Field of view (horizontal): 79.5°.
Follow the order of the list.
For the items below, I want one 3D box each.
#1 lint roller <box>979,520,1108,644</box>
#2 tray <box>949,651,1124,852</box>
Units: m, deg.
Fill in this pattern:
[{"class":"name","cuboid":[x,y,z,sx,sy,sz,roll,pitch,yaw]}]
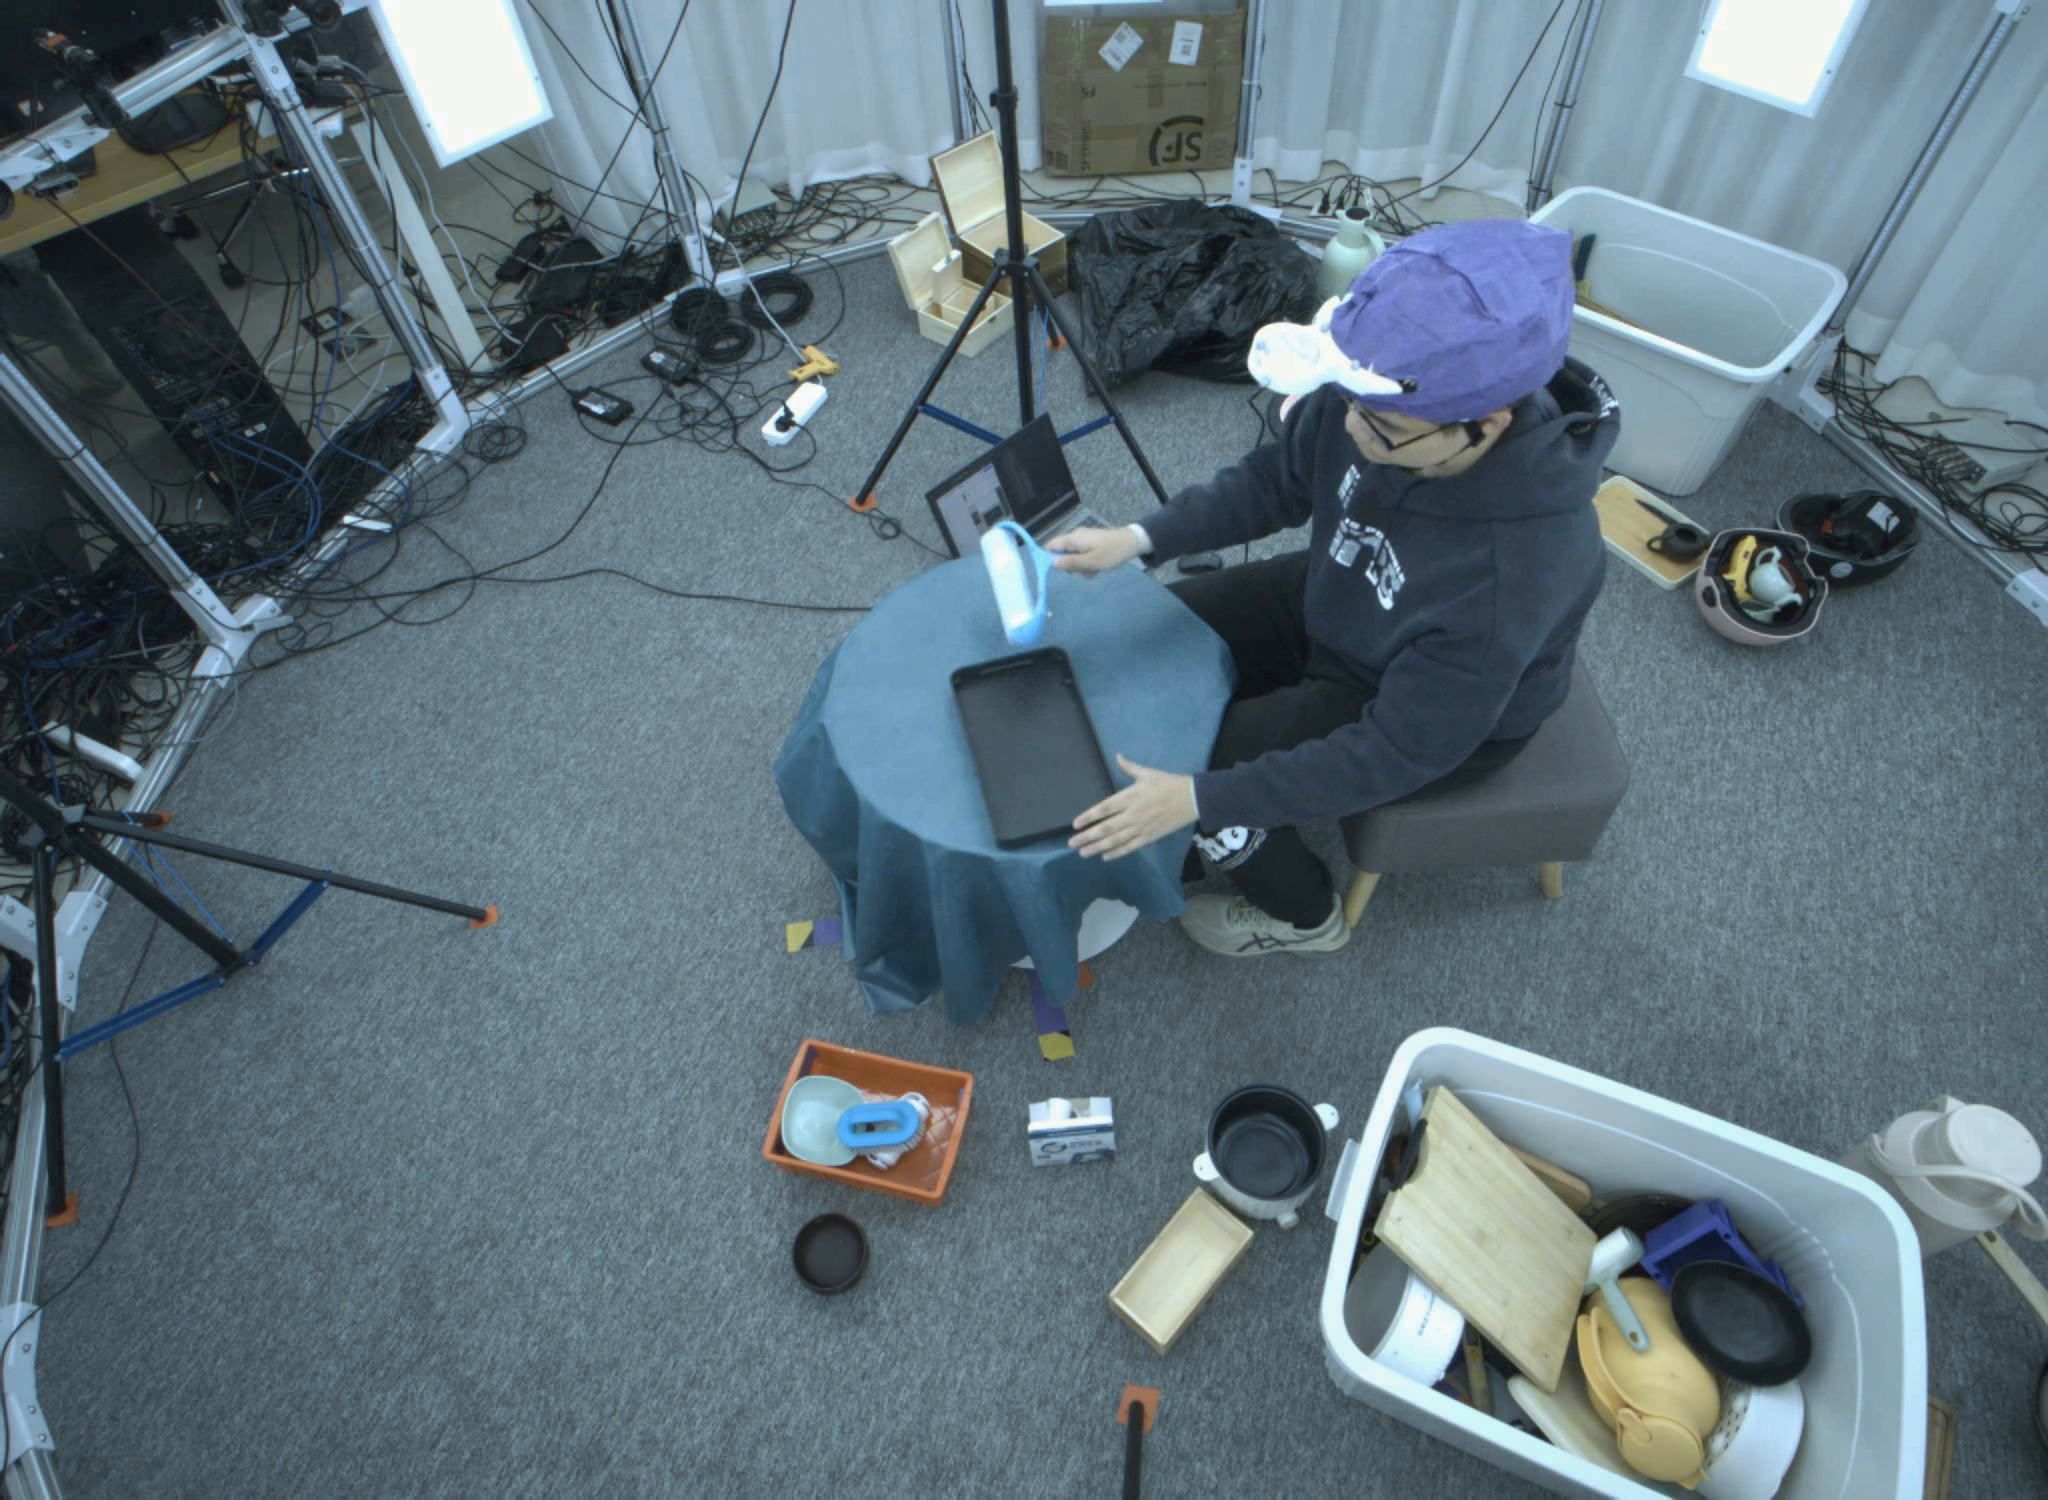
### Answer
[{"class":"lint roller","cuboid":[0.031,-0.270,1.828,0.180,0.069,0.225,-20,54,4]},{"class":"tray","cuboid":[0.013,-0.004,1.772,0.185,0.037,0.312,-14,53,-8]}]
